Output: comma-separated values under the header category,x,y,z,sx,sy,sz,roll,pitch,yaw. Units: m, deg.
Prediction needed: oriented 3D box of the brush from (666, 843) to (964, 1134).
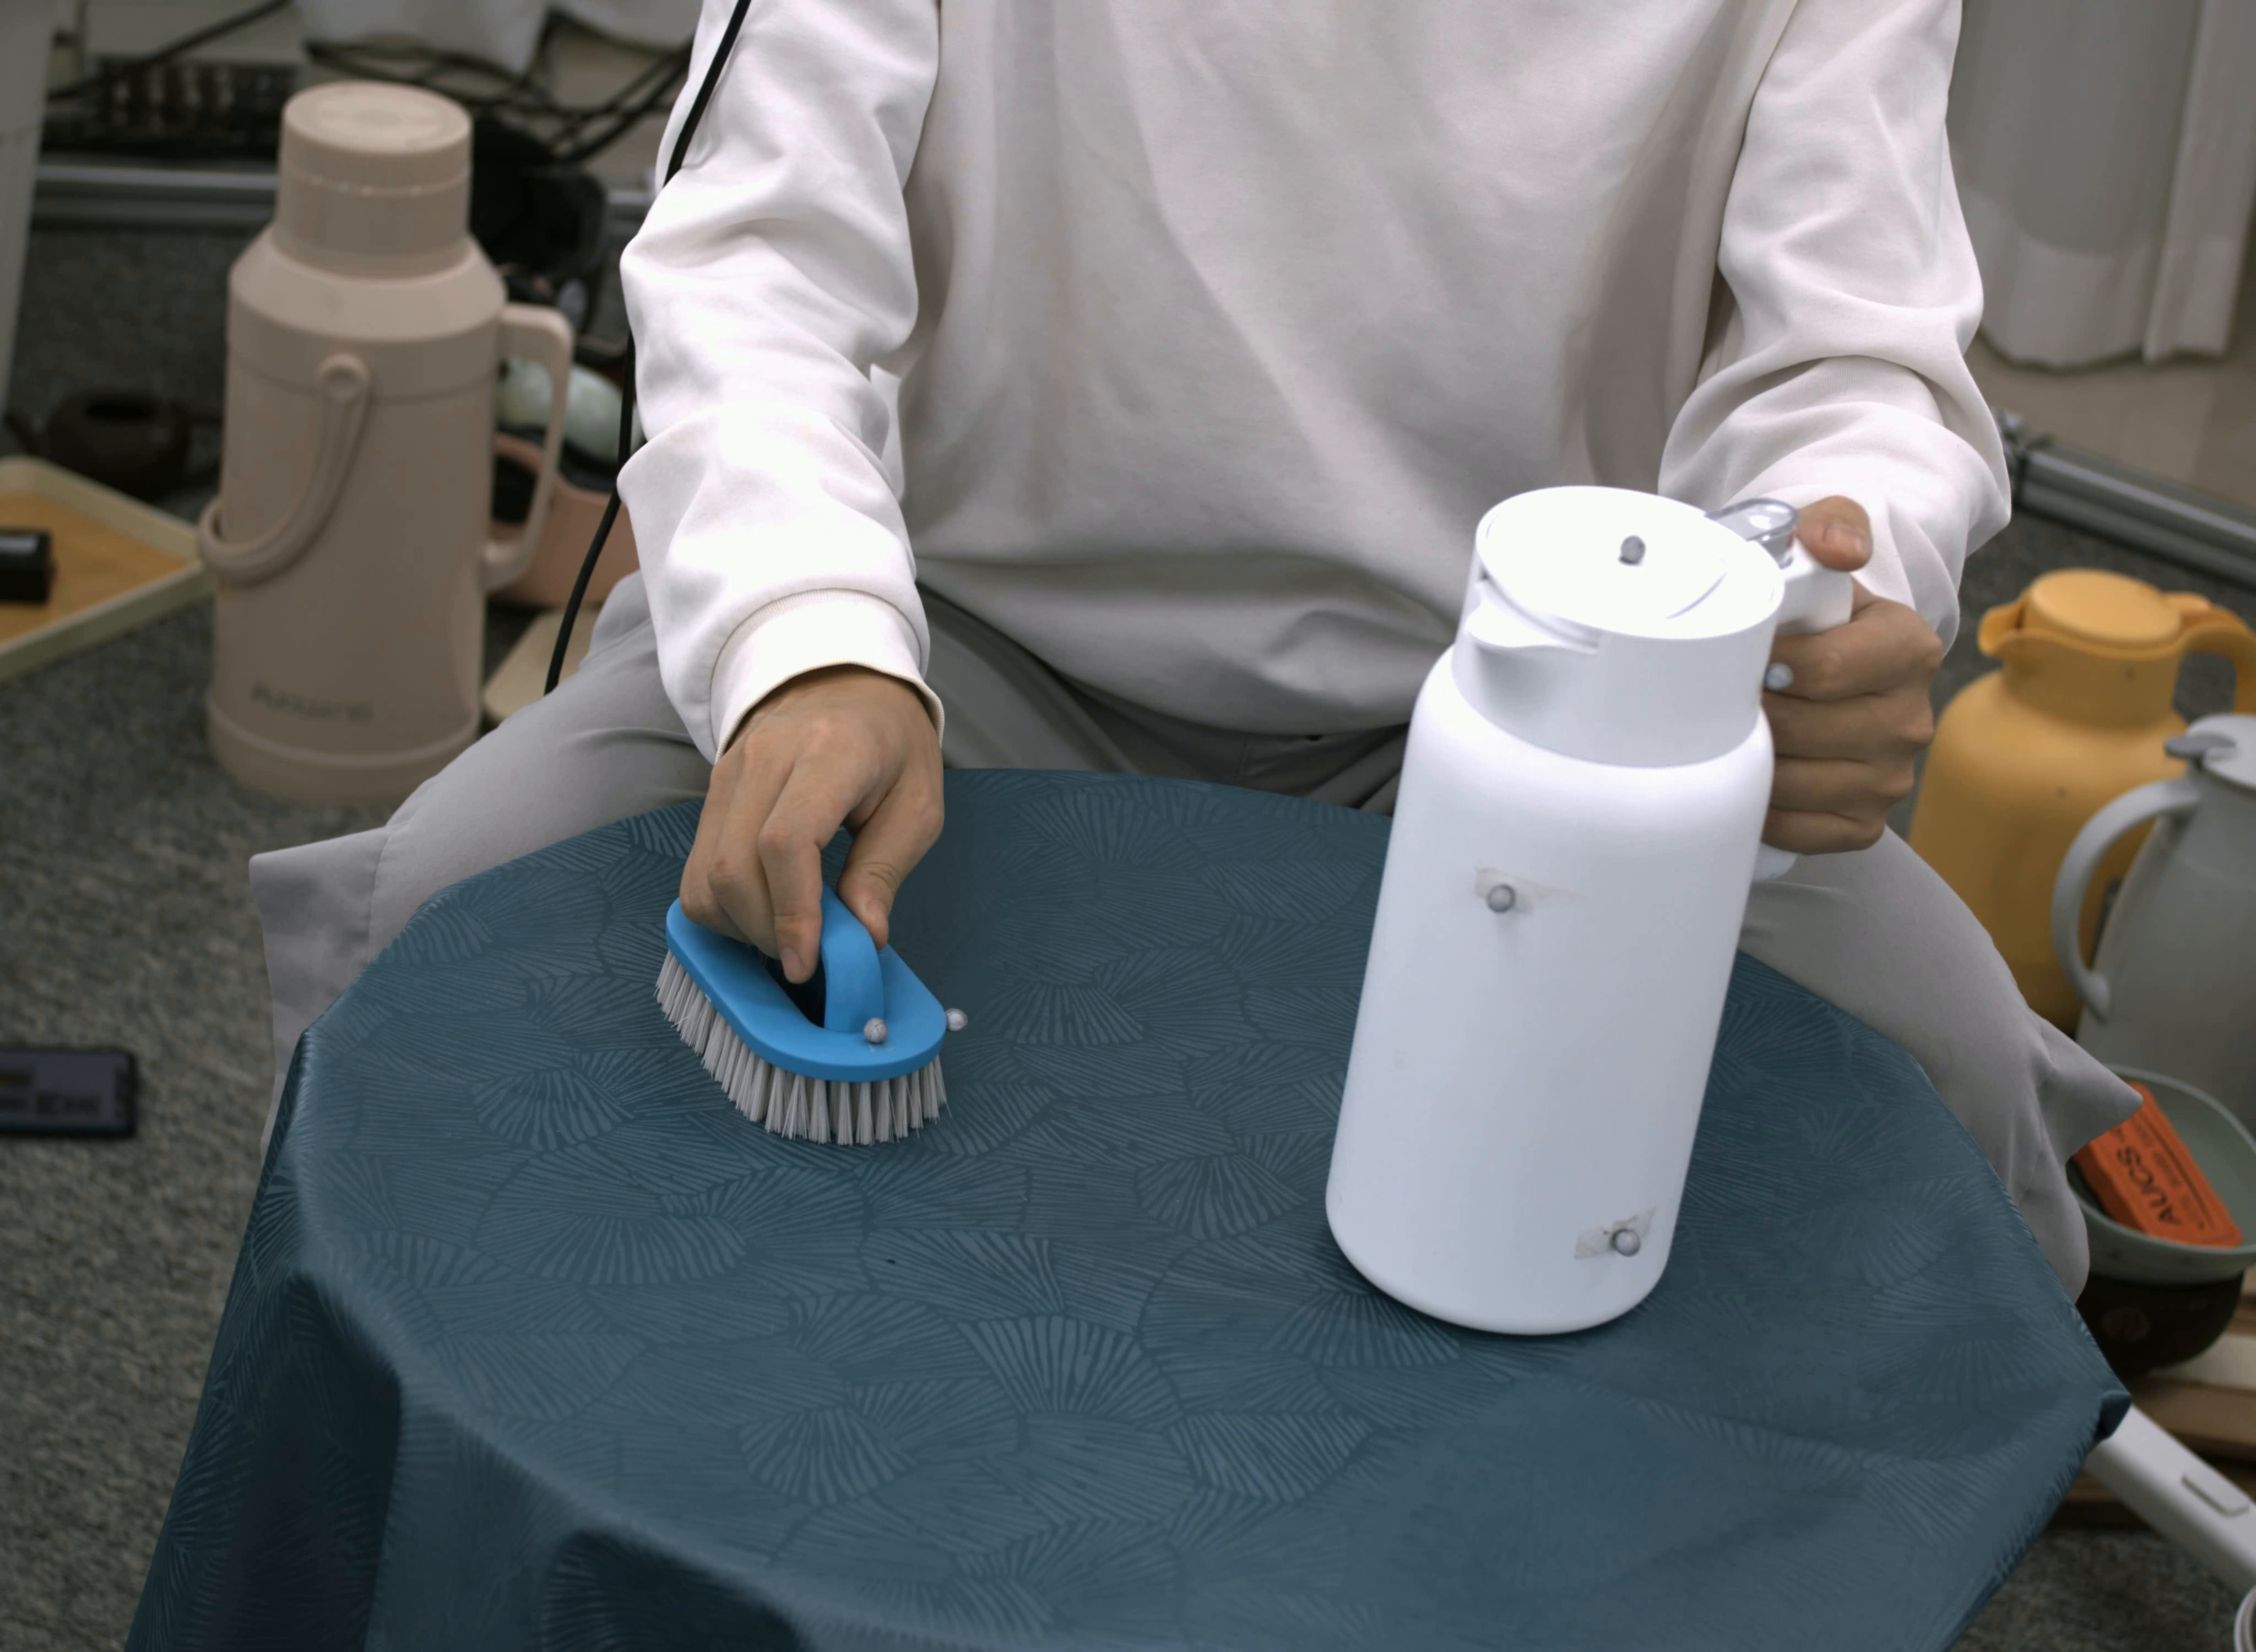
category,x,y,z,sx,sy,sz,roll,pitch,yaw
brush,-0.111,0.048,1.858,0.084,0.063,0.143,-10,29,-21

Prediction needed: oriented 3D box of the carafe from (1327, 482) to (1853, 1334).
category,x,y,z,sx,sy,sz,roll,pitch,yaw
carafe,0.152,0.023,1.740,0.172,0.268,0.125,-19,38,-40
